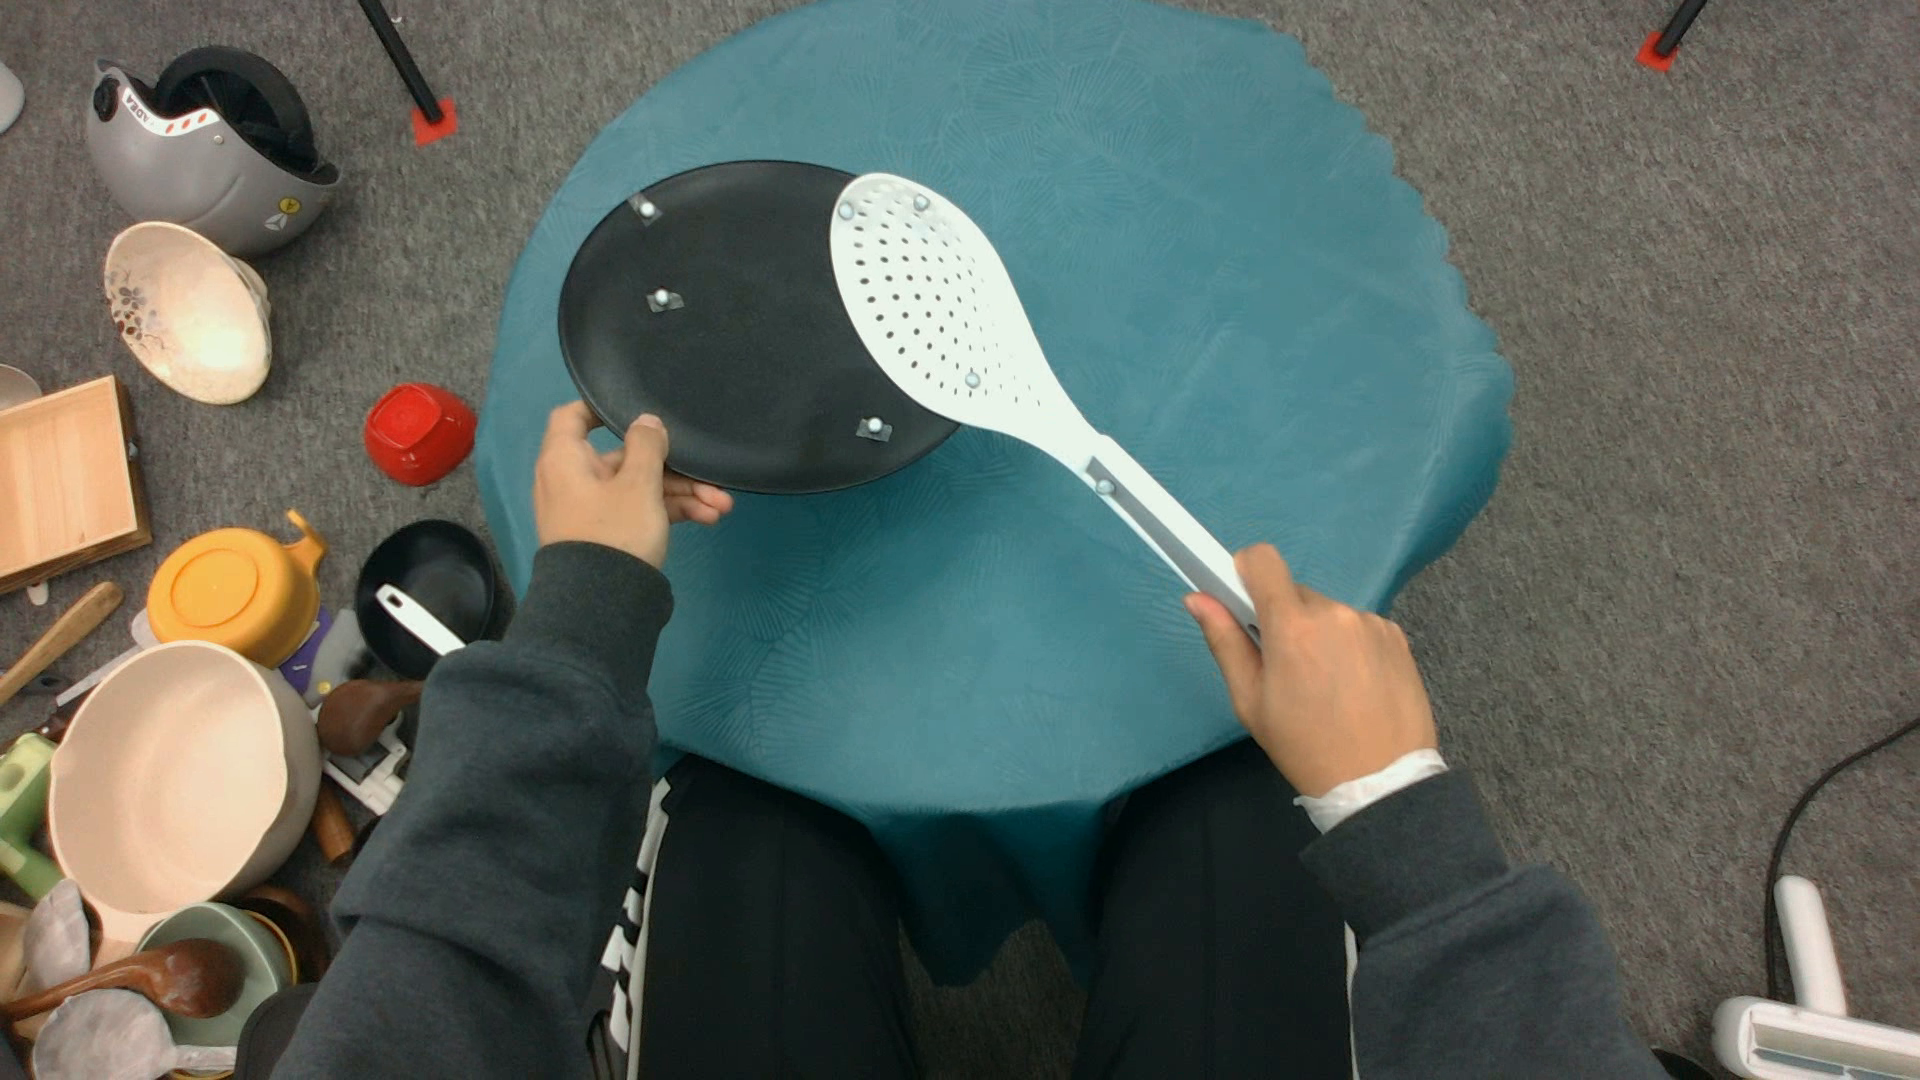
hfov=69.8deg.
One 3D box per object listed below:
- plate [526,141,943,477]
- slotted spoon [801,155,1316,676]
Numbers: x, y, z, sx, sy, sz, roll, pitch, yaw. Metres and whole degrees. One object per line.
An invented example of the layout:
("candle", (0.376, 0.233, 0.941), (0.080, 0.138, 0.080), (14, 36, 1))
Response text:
("plate", (-0.117, -0.133, 0.778), (0.244, 0.023, 0.245), (5, 58, -8))
("slotted spoon", (0.043, -0.063, 0.691), (0.046, 0.135, 0.350), (-32, 72, -29))
